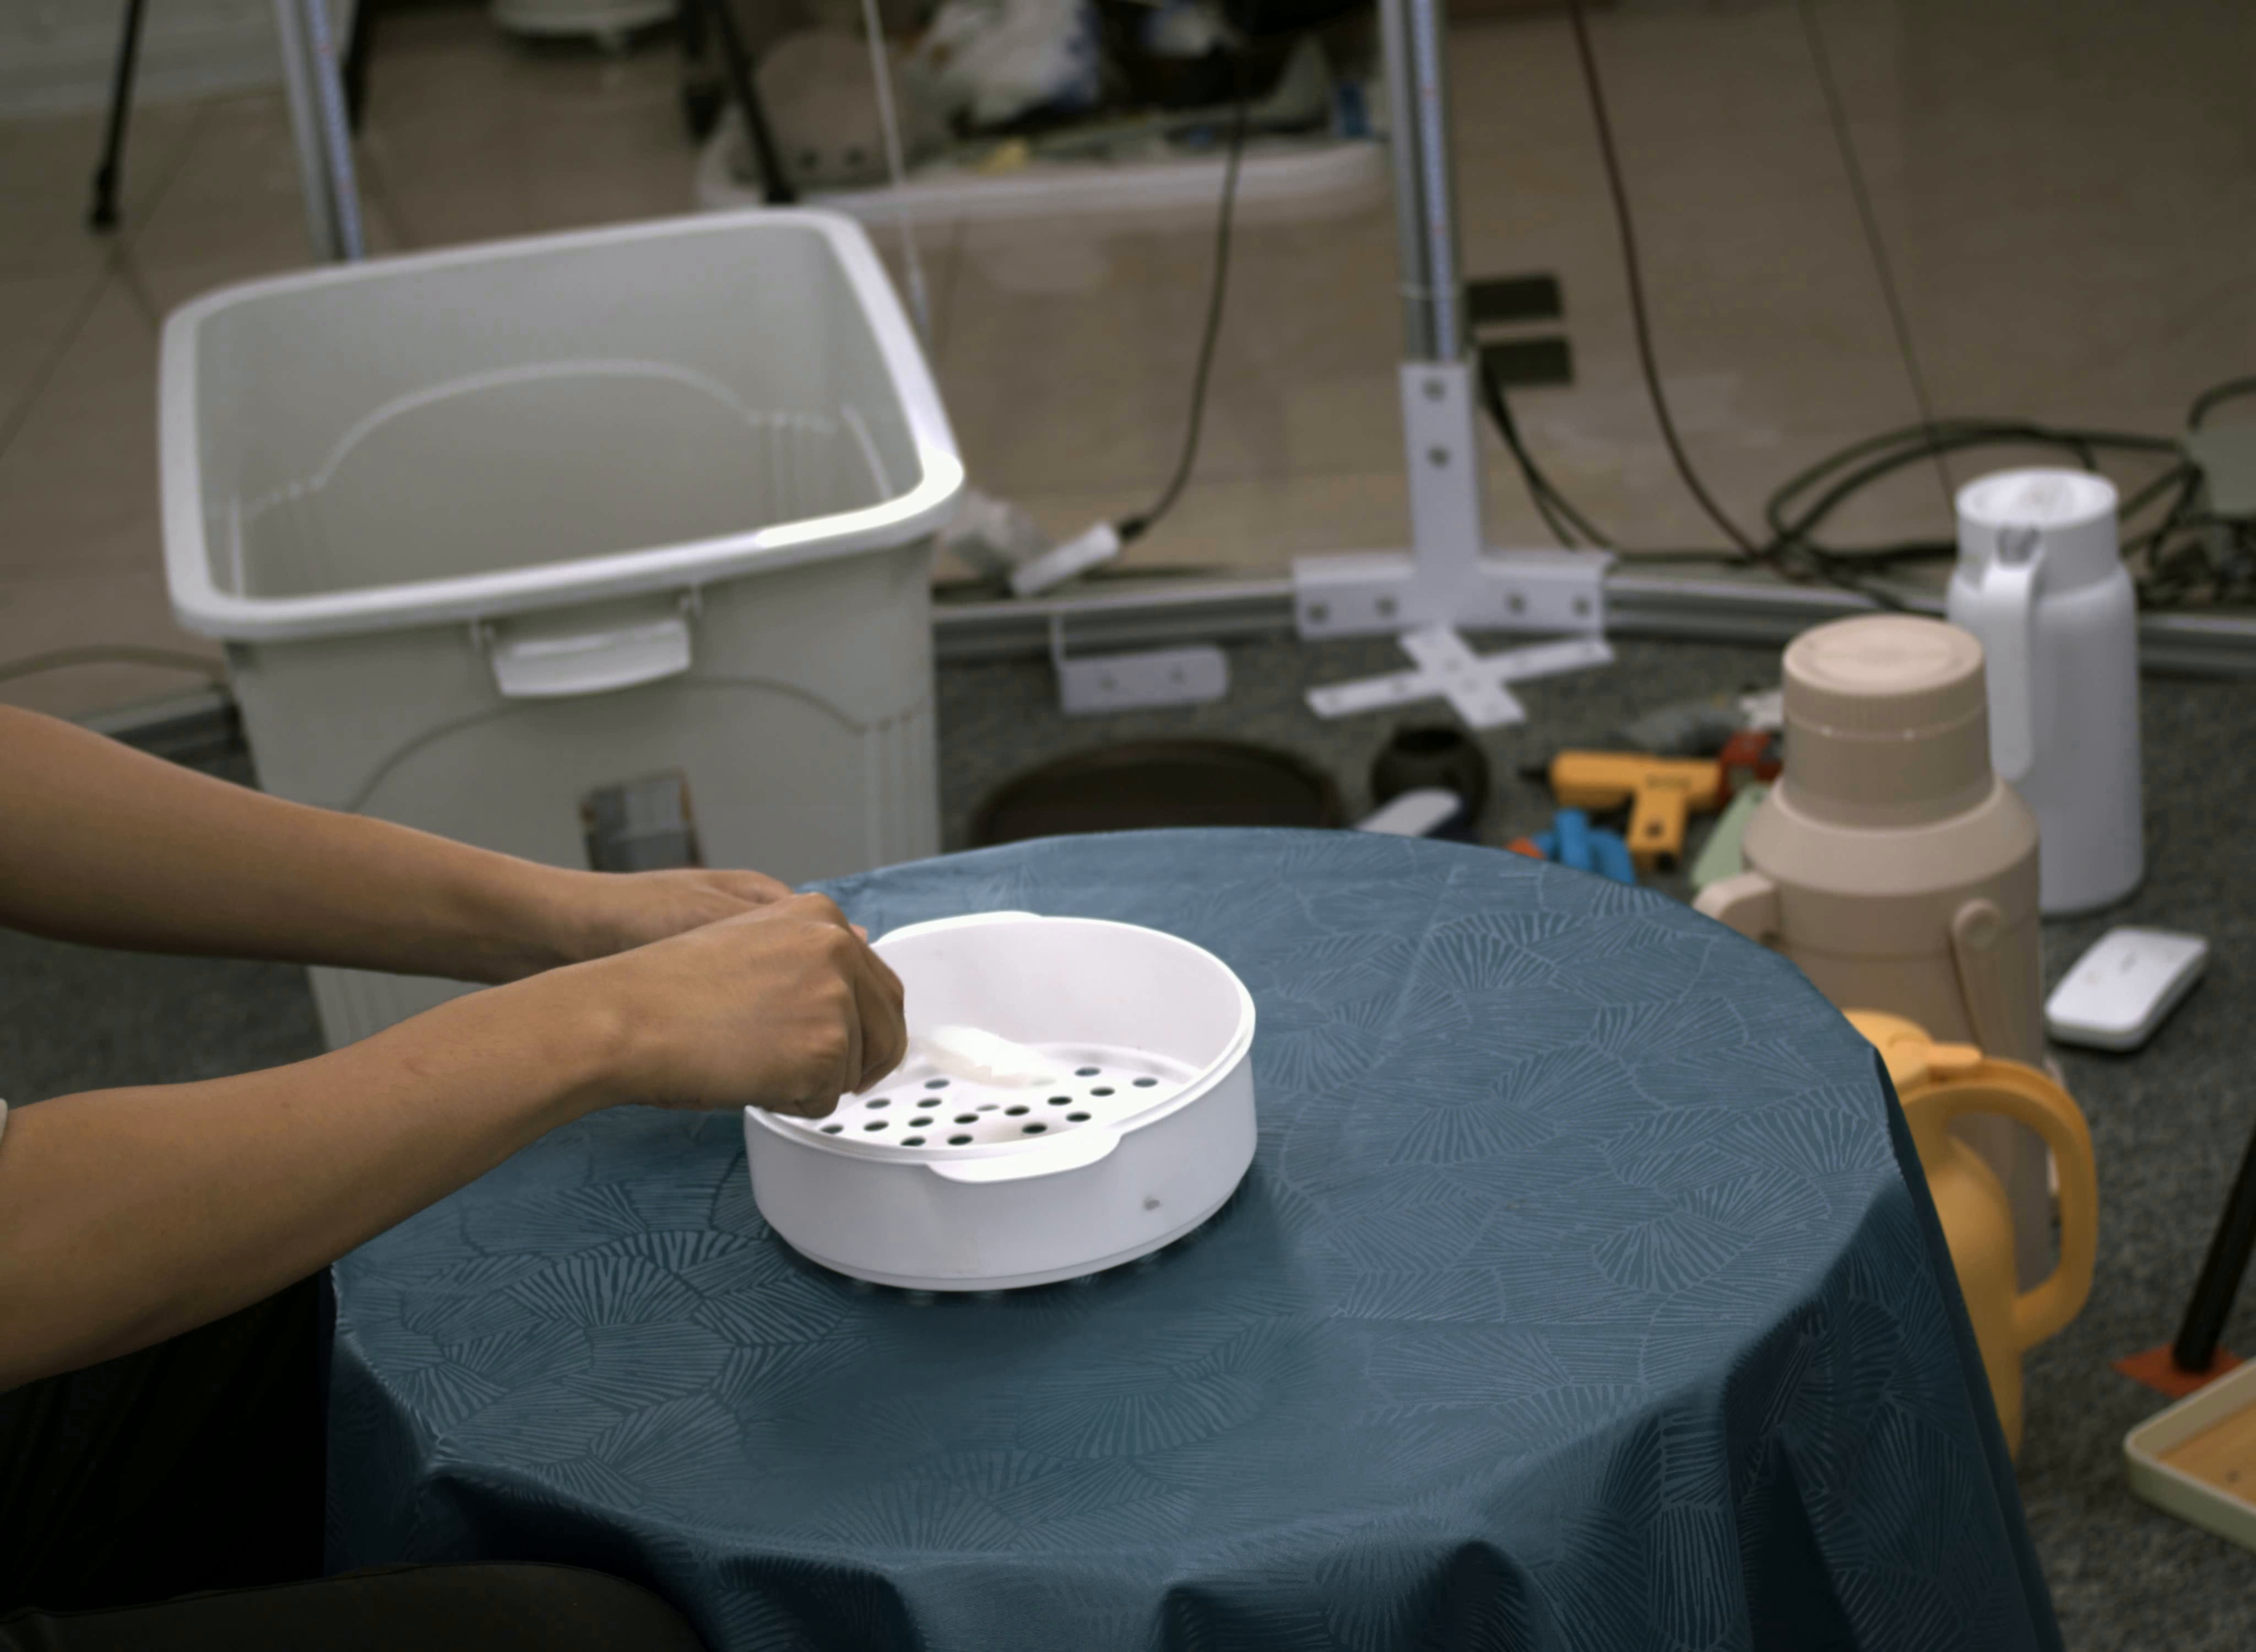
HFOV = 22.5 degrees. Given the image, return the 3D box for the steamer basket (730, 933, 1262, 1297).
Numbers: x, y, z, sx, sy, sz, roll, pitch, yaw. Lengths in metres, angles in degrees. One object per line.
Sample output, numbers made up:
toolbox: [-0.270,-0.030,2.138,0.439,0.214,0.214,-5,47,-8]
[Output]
steamer basket: [-0.047,0.110,2.149,0.201,0.070,0.227,-8,22,-5]

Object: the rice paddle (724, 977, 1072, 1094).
rice paddle: [-0.083,0.078,2.095,0.068,0.029,0.206,24,5,28]
